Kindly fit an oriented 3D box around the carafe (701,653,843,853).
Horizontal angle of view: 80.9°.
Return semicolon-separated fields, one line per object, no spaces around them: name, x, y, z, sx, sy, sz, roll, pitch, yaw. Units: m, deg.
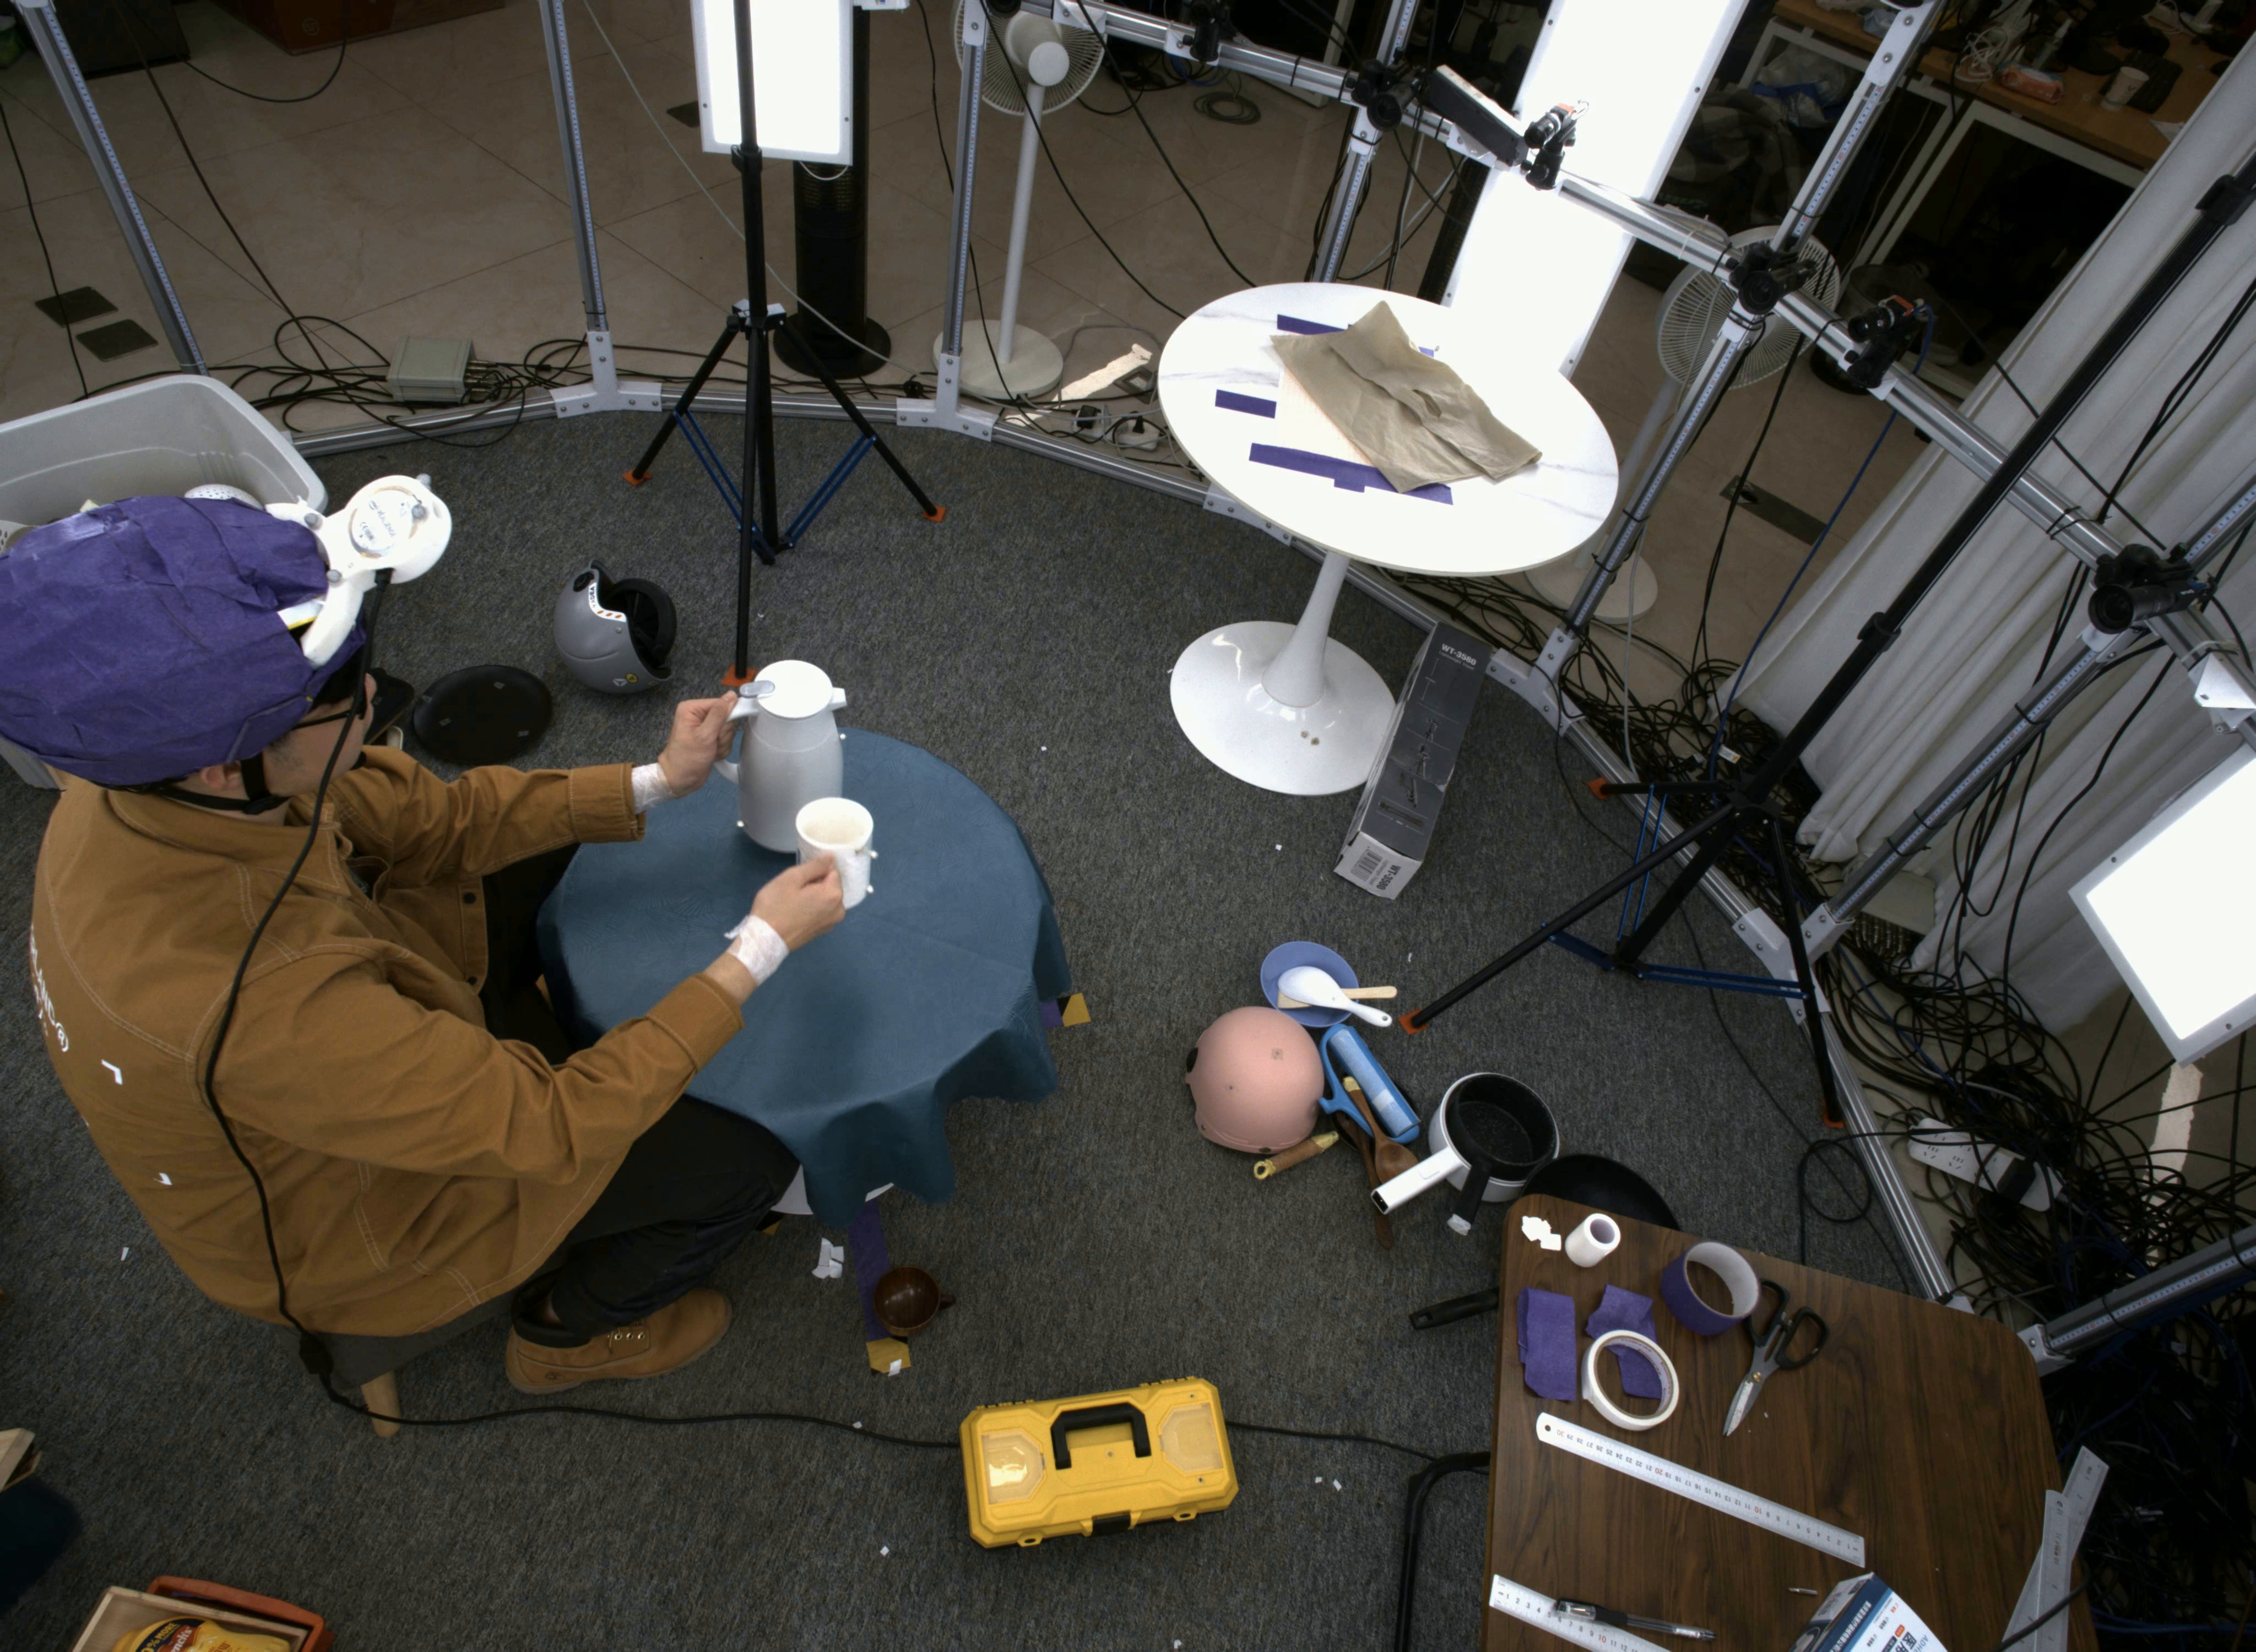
carafe;-0.436;-0.093;1.586;0.168;0.253;0.129;-6;55;-19

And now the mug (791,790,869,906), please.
mug;-0.338;0.035;1.455;0.084;0.104;0.116;9;39;-5
